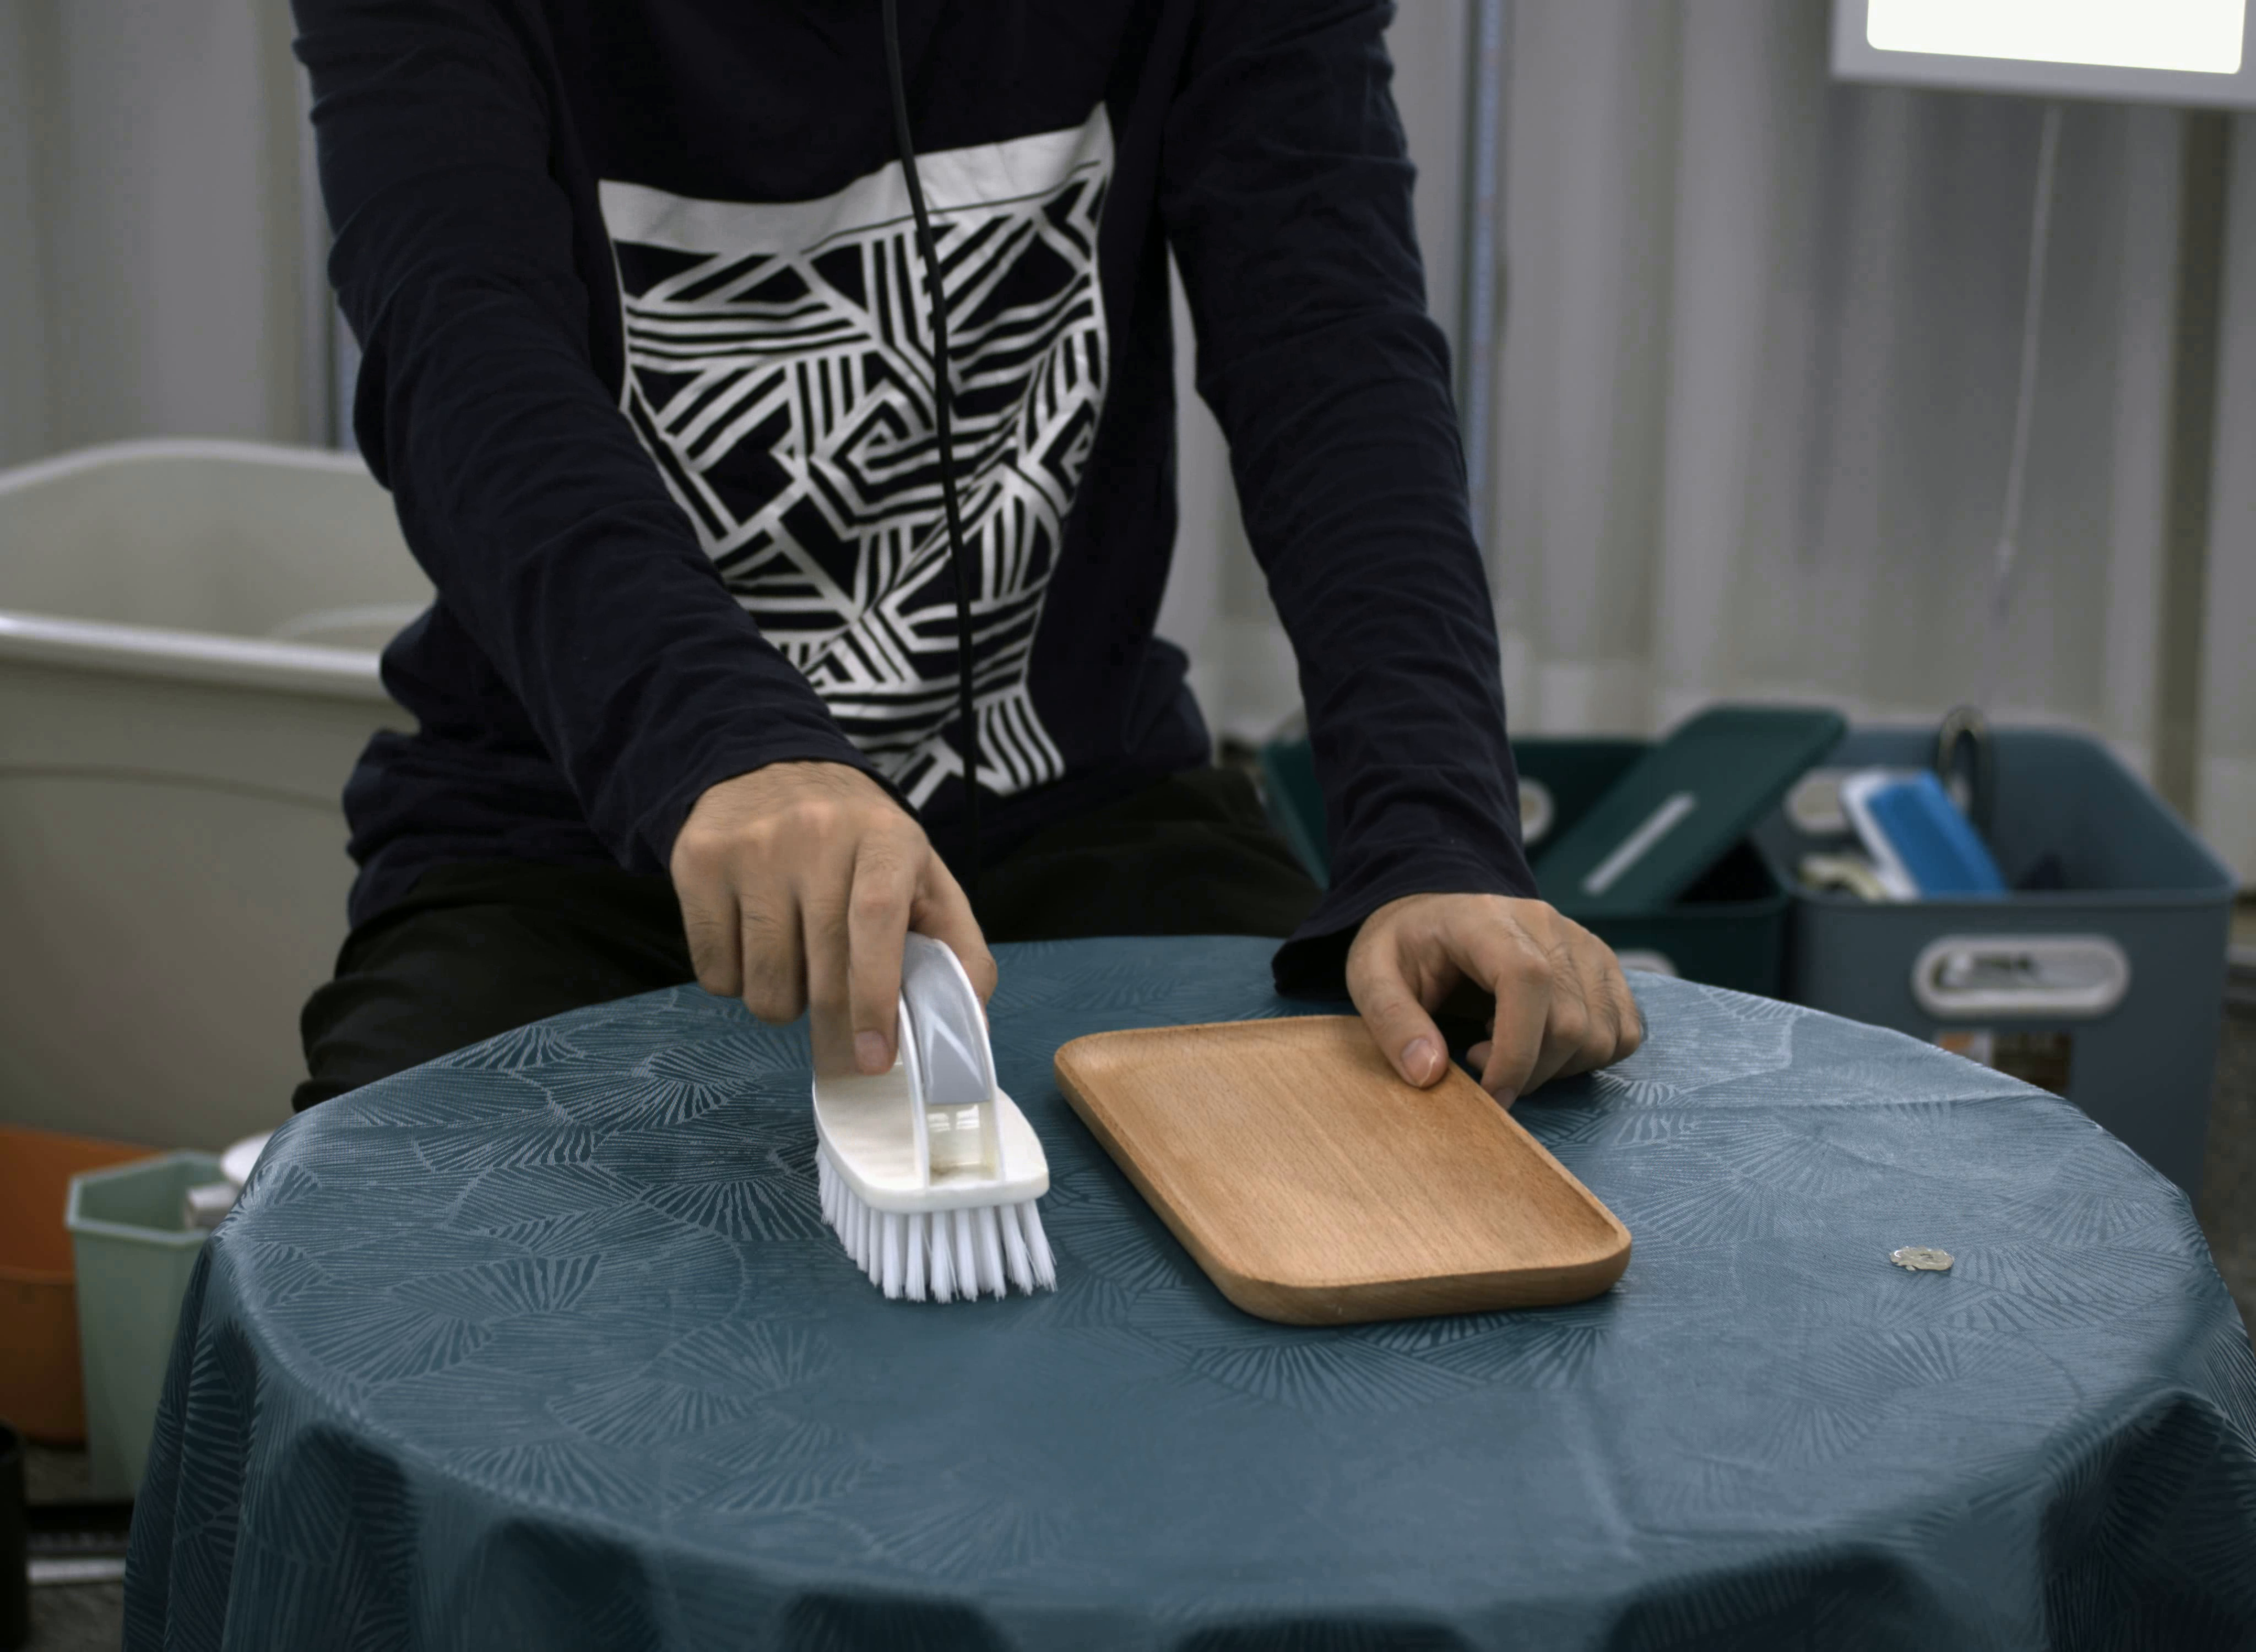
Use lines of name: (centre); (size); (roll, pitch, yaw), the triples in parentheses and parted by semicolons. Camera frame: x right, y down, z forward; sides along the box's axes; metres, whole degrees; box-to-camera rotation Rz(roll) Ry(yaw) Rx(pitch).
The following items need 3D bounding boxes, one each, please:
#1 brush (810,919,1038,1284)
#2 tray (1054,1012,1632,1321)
brush: (-0.069, 0.073, 1.594); (0.061, 0.095, 0.174); (-4, 14, -12)
tray: (0.062, 0.103, 1.633); (0.131, 0.023, 0.248); (-1, 14, -14)
